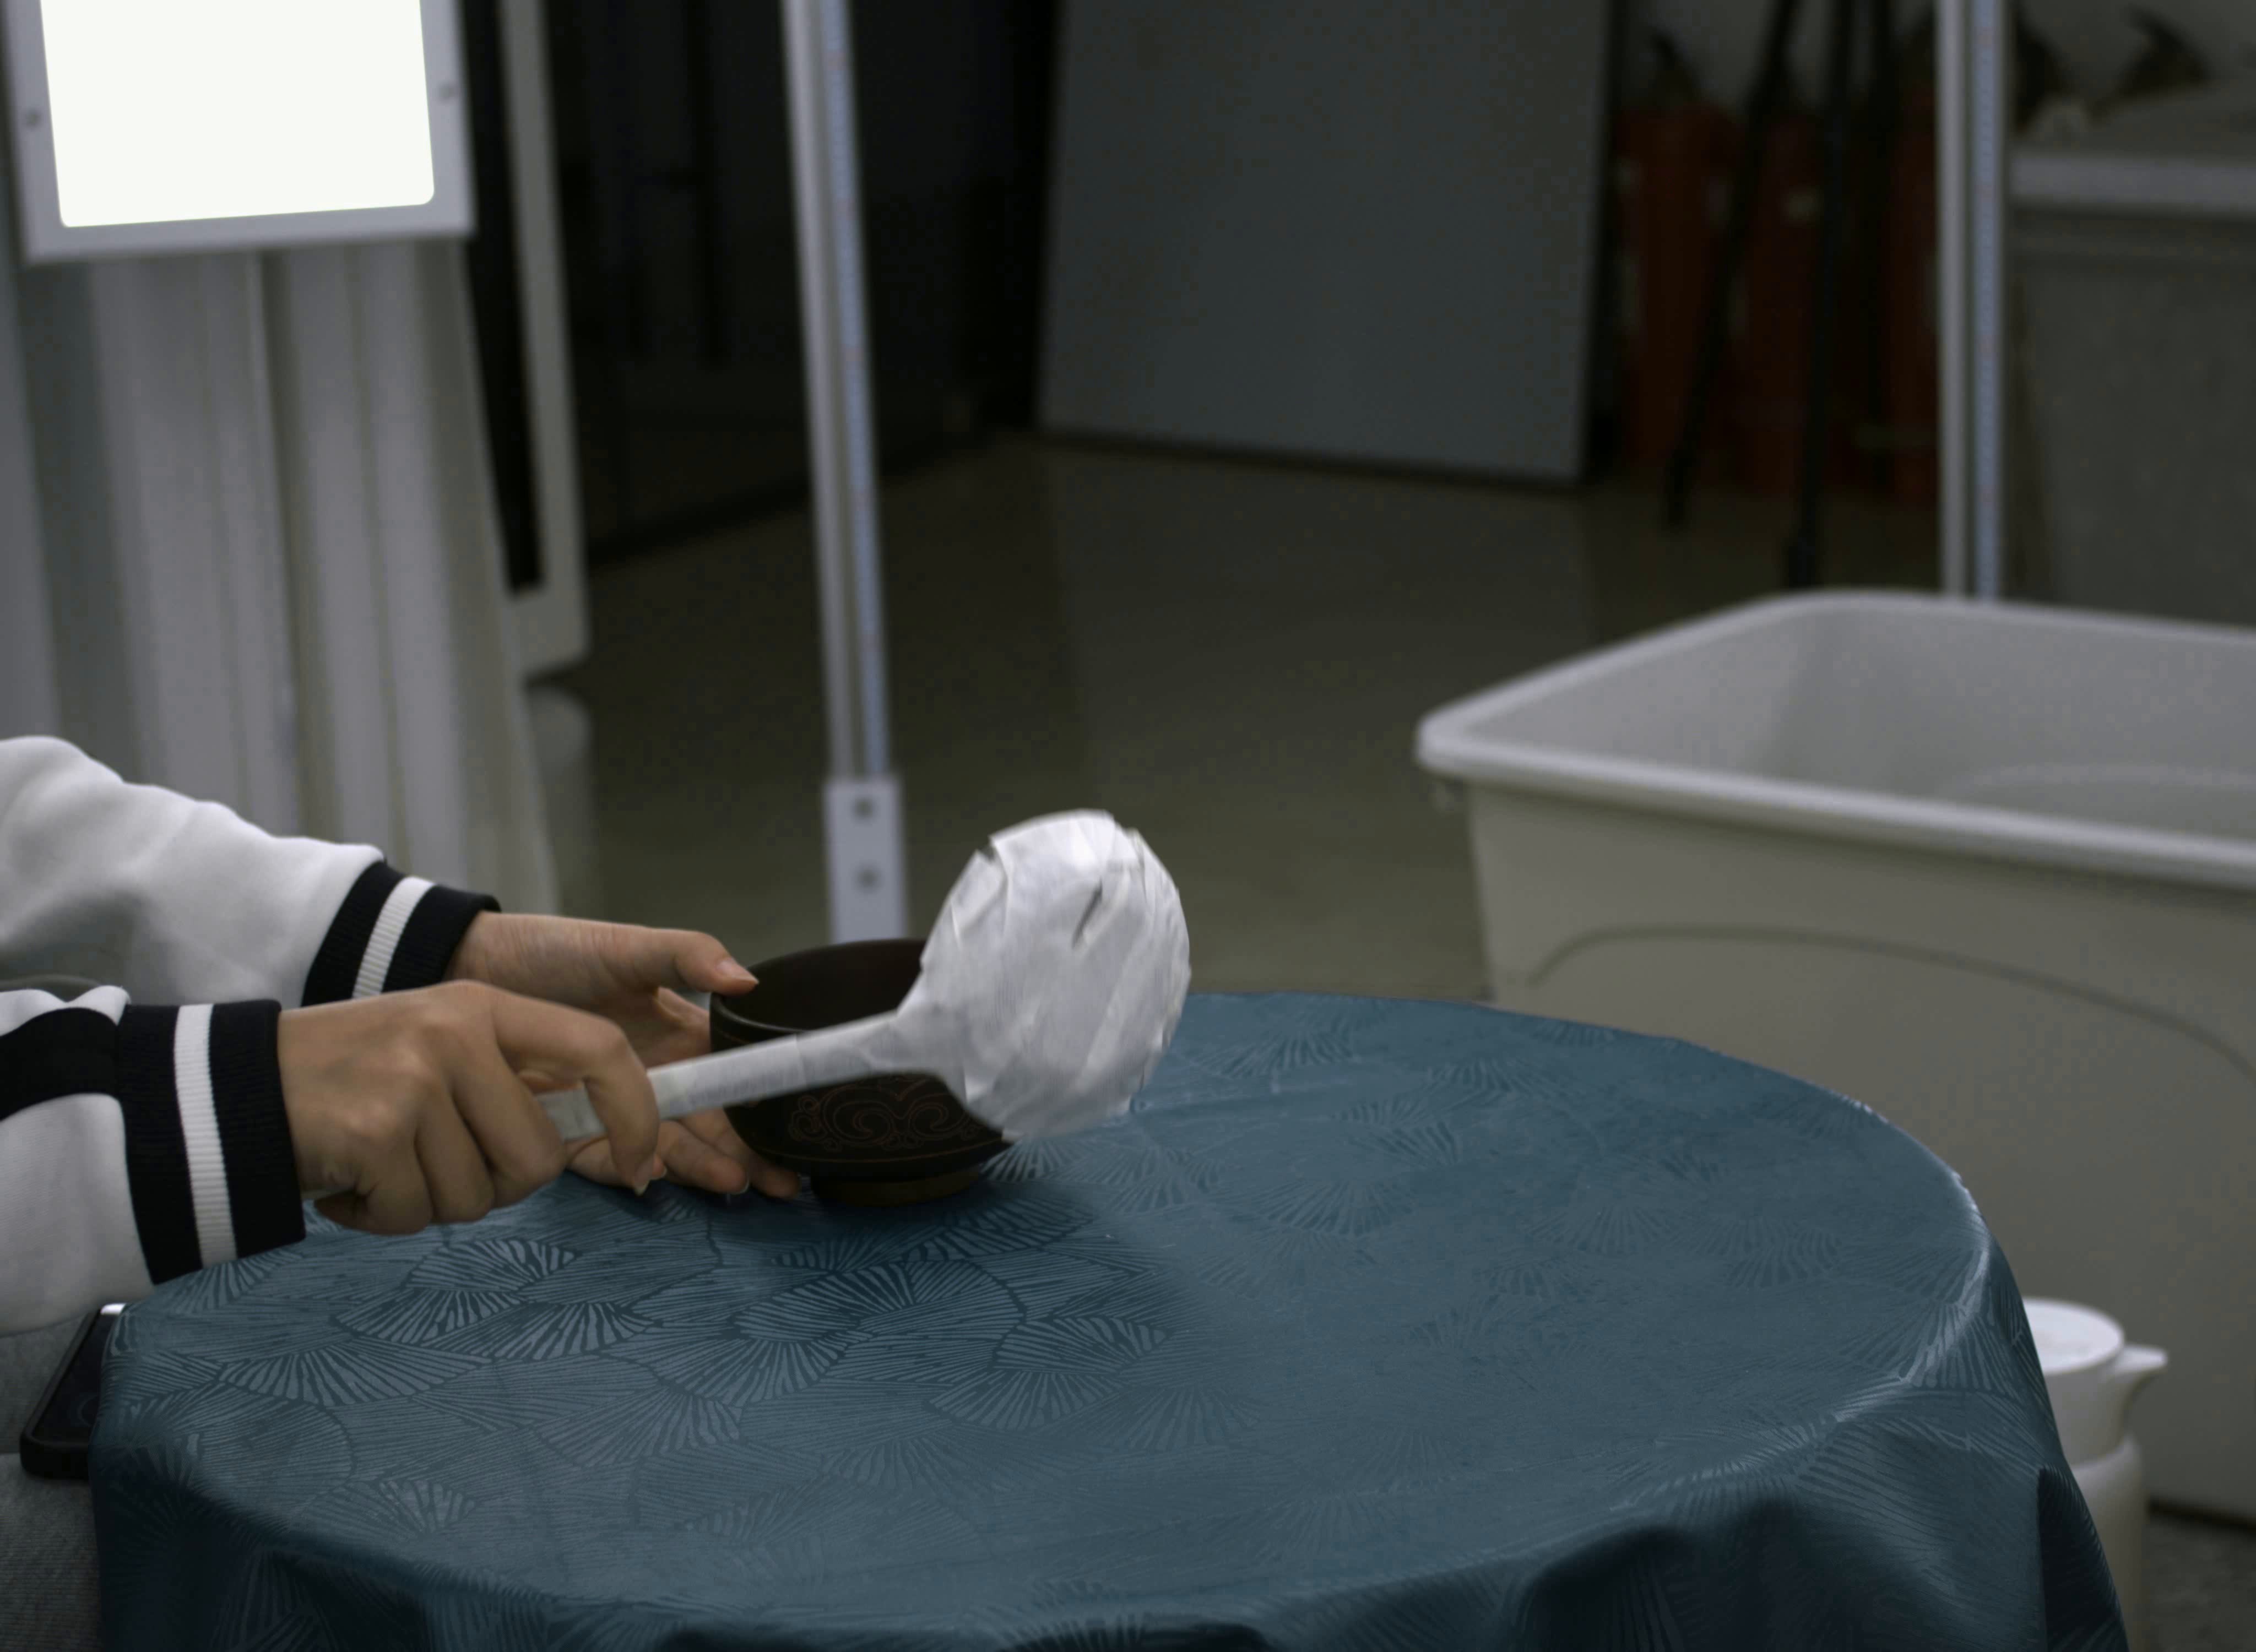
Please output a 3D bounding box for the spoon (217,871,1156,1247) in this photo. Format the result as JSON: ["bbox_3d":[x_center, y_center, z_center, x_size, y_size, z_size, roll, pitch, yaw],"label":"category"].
[{"bbox_3d":[-0.124,0.078,1.552,0.274,0.101,0.060,-10,34,3],"label":"spoon"}]

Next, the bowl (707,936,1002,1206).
[{"bbox_3d":[-0.080,0.084,1.789,0.116,0.070,0.118,-5,13,0],"label":"bowl"}]
